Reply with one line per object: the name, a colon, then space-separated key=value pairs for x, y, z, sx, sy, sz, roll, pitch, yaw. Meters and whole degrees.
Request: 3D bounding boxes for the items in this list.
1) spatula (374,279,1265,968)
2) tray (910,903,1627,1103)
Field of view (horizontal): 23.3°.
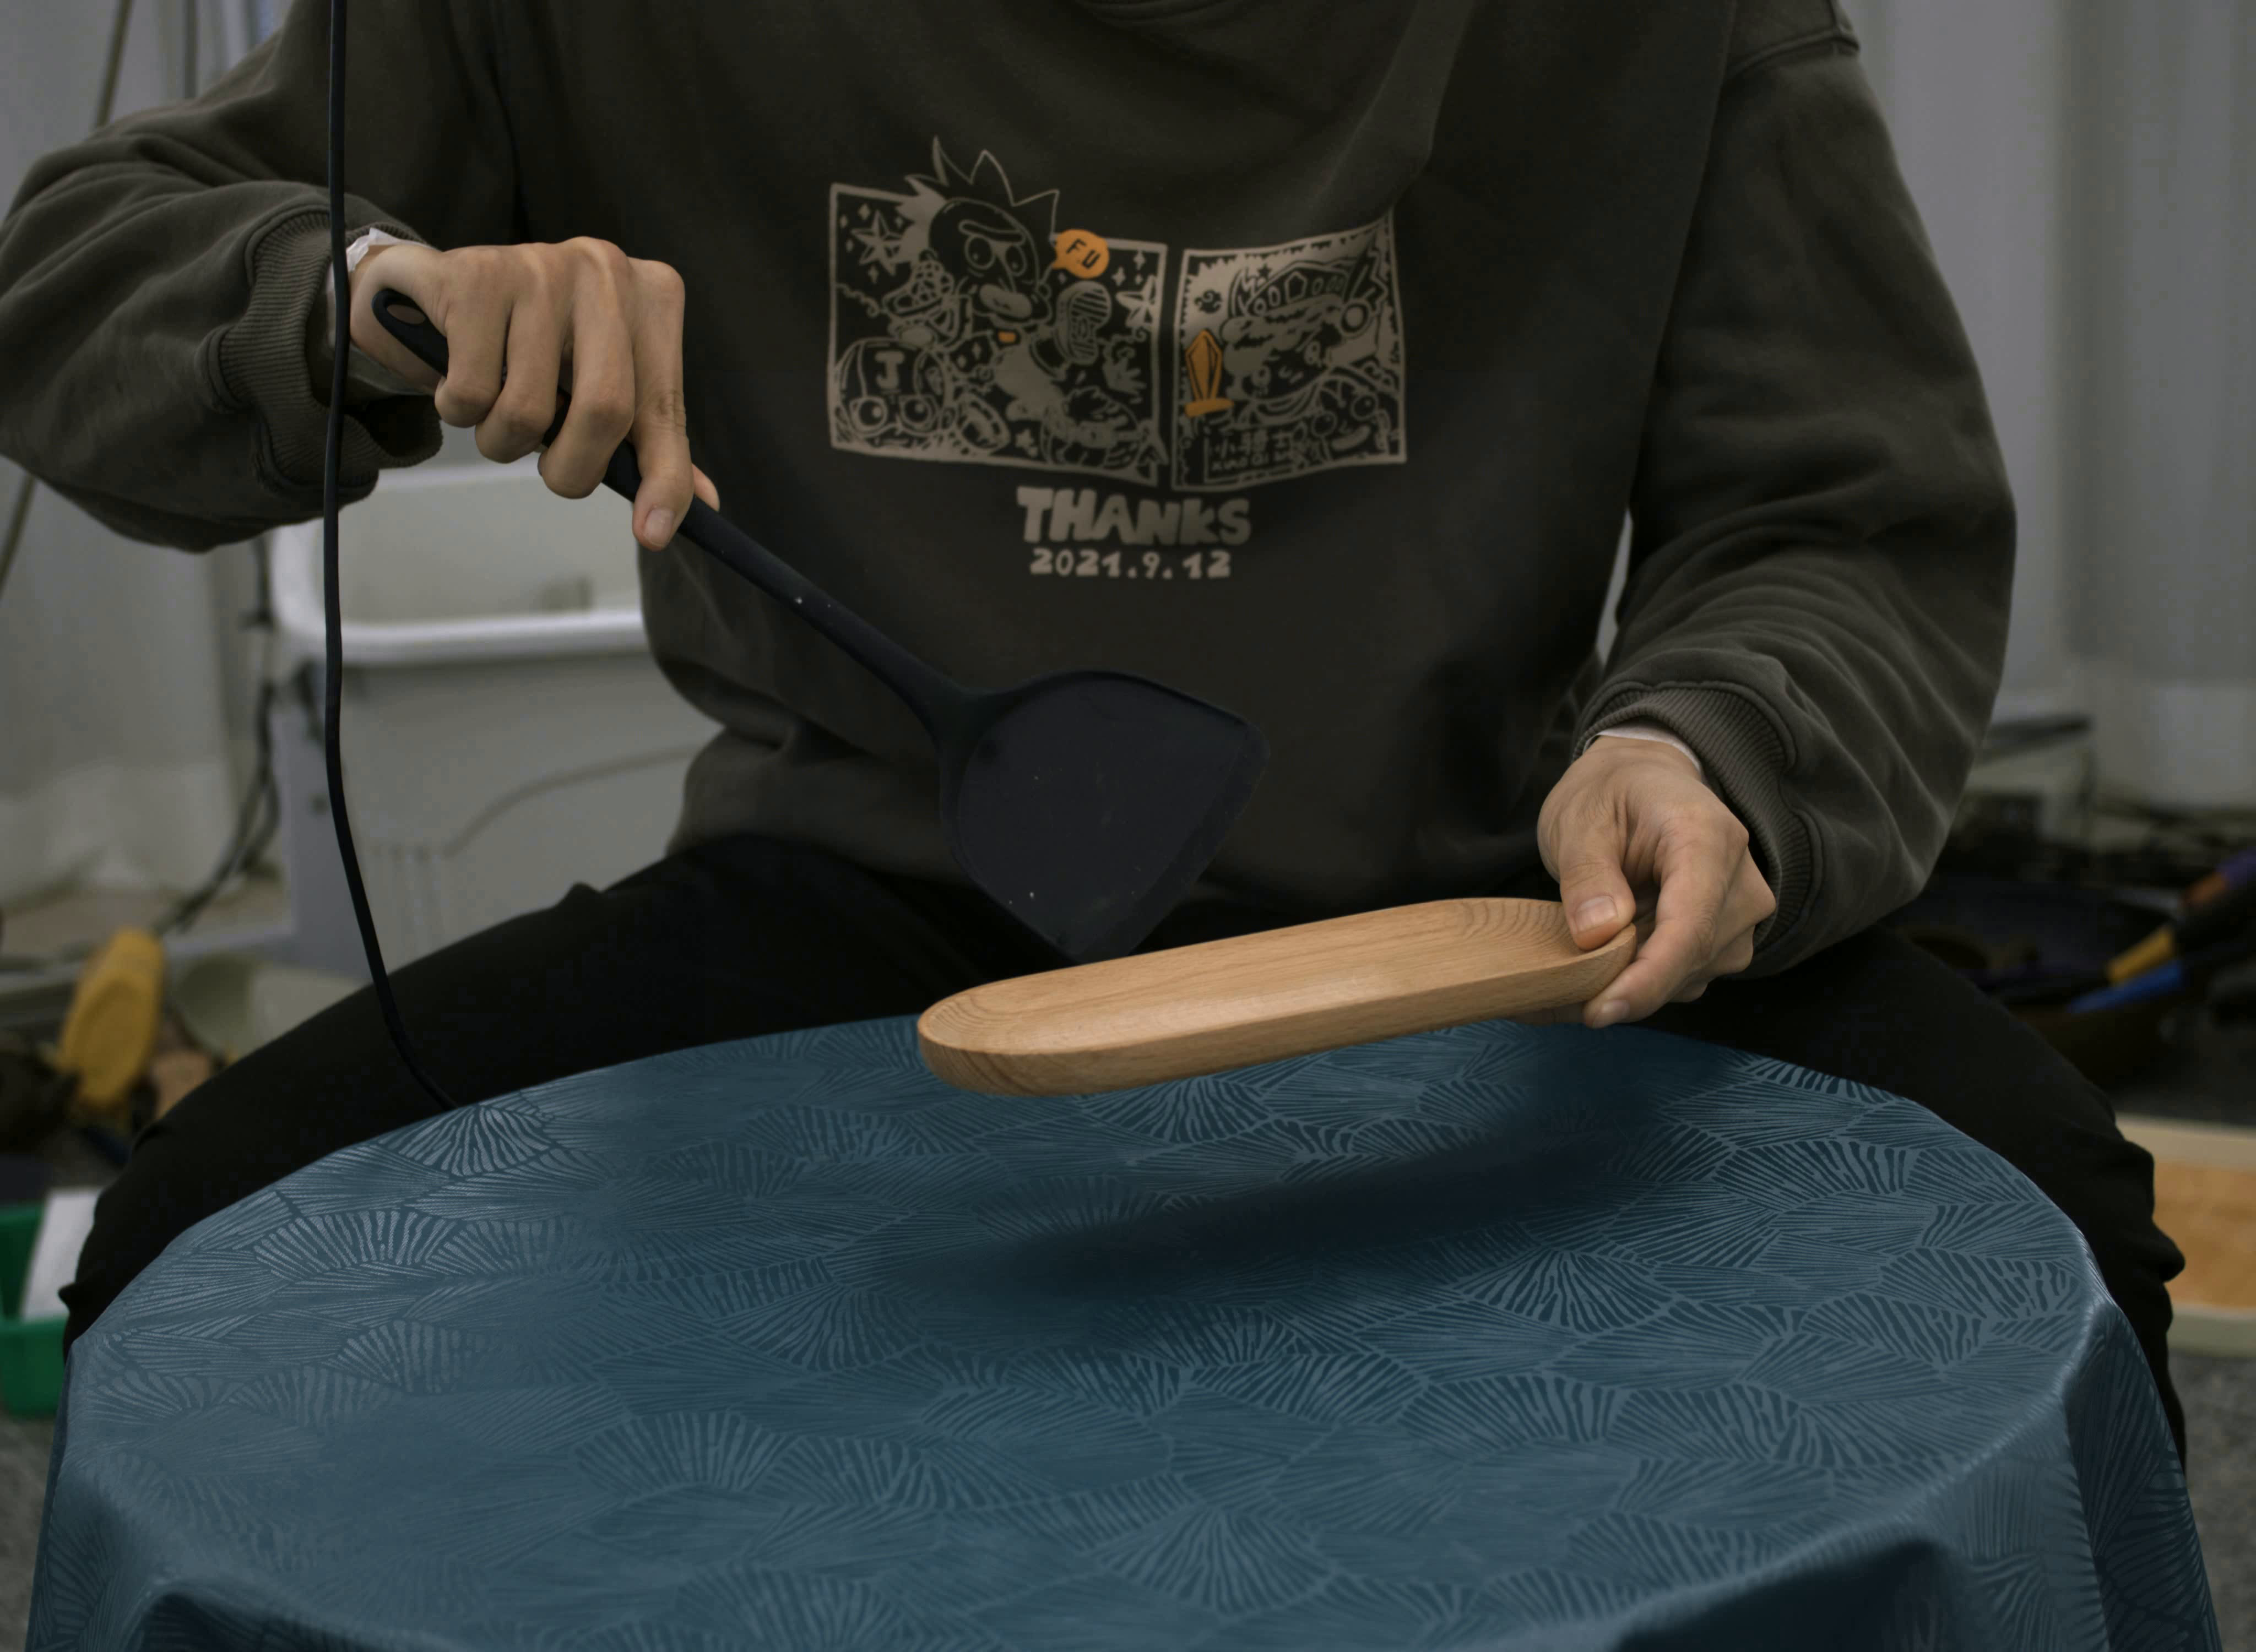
spatula: x=-0.109 y=-0.080 z=1.749 sx=0.326 sy=0.100 sz=0.040 roll=37 pitch=-18 yaw=3
tray: x=0.045 y=0.053 z=1.662 sx=0.230 sy=0.020 sz=0.102 roll=-11 pitch=13 yaw=-23
